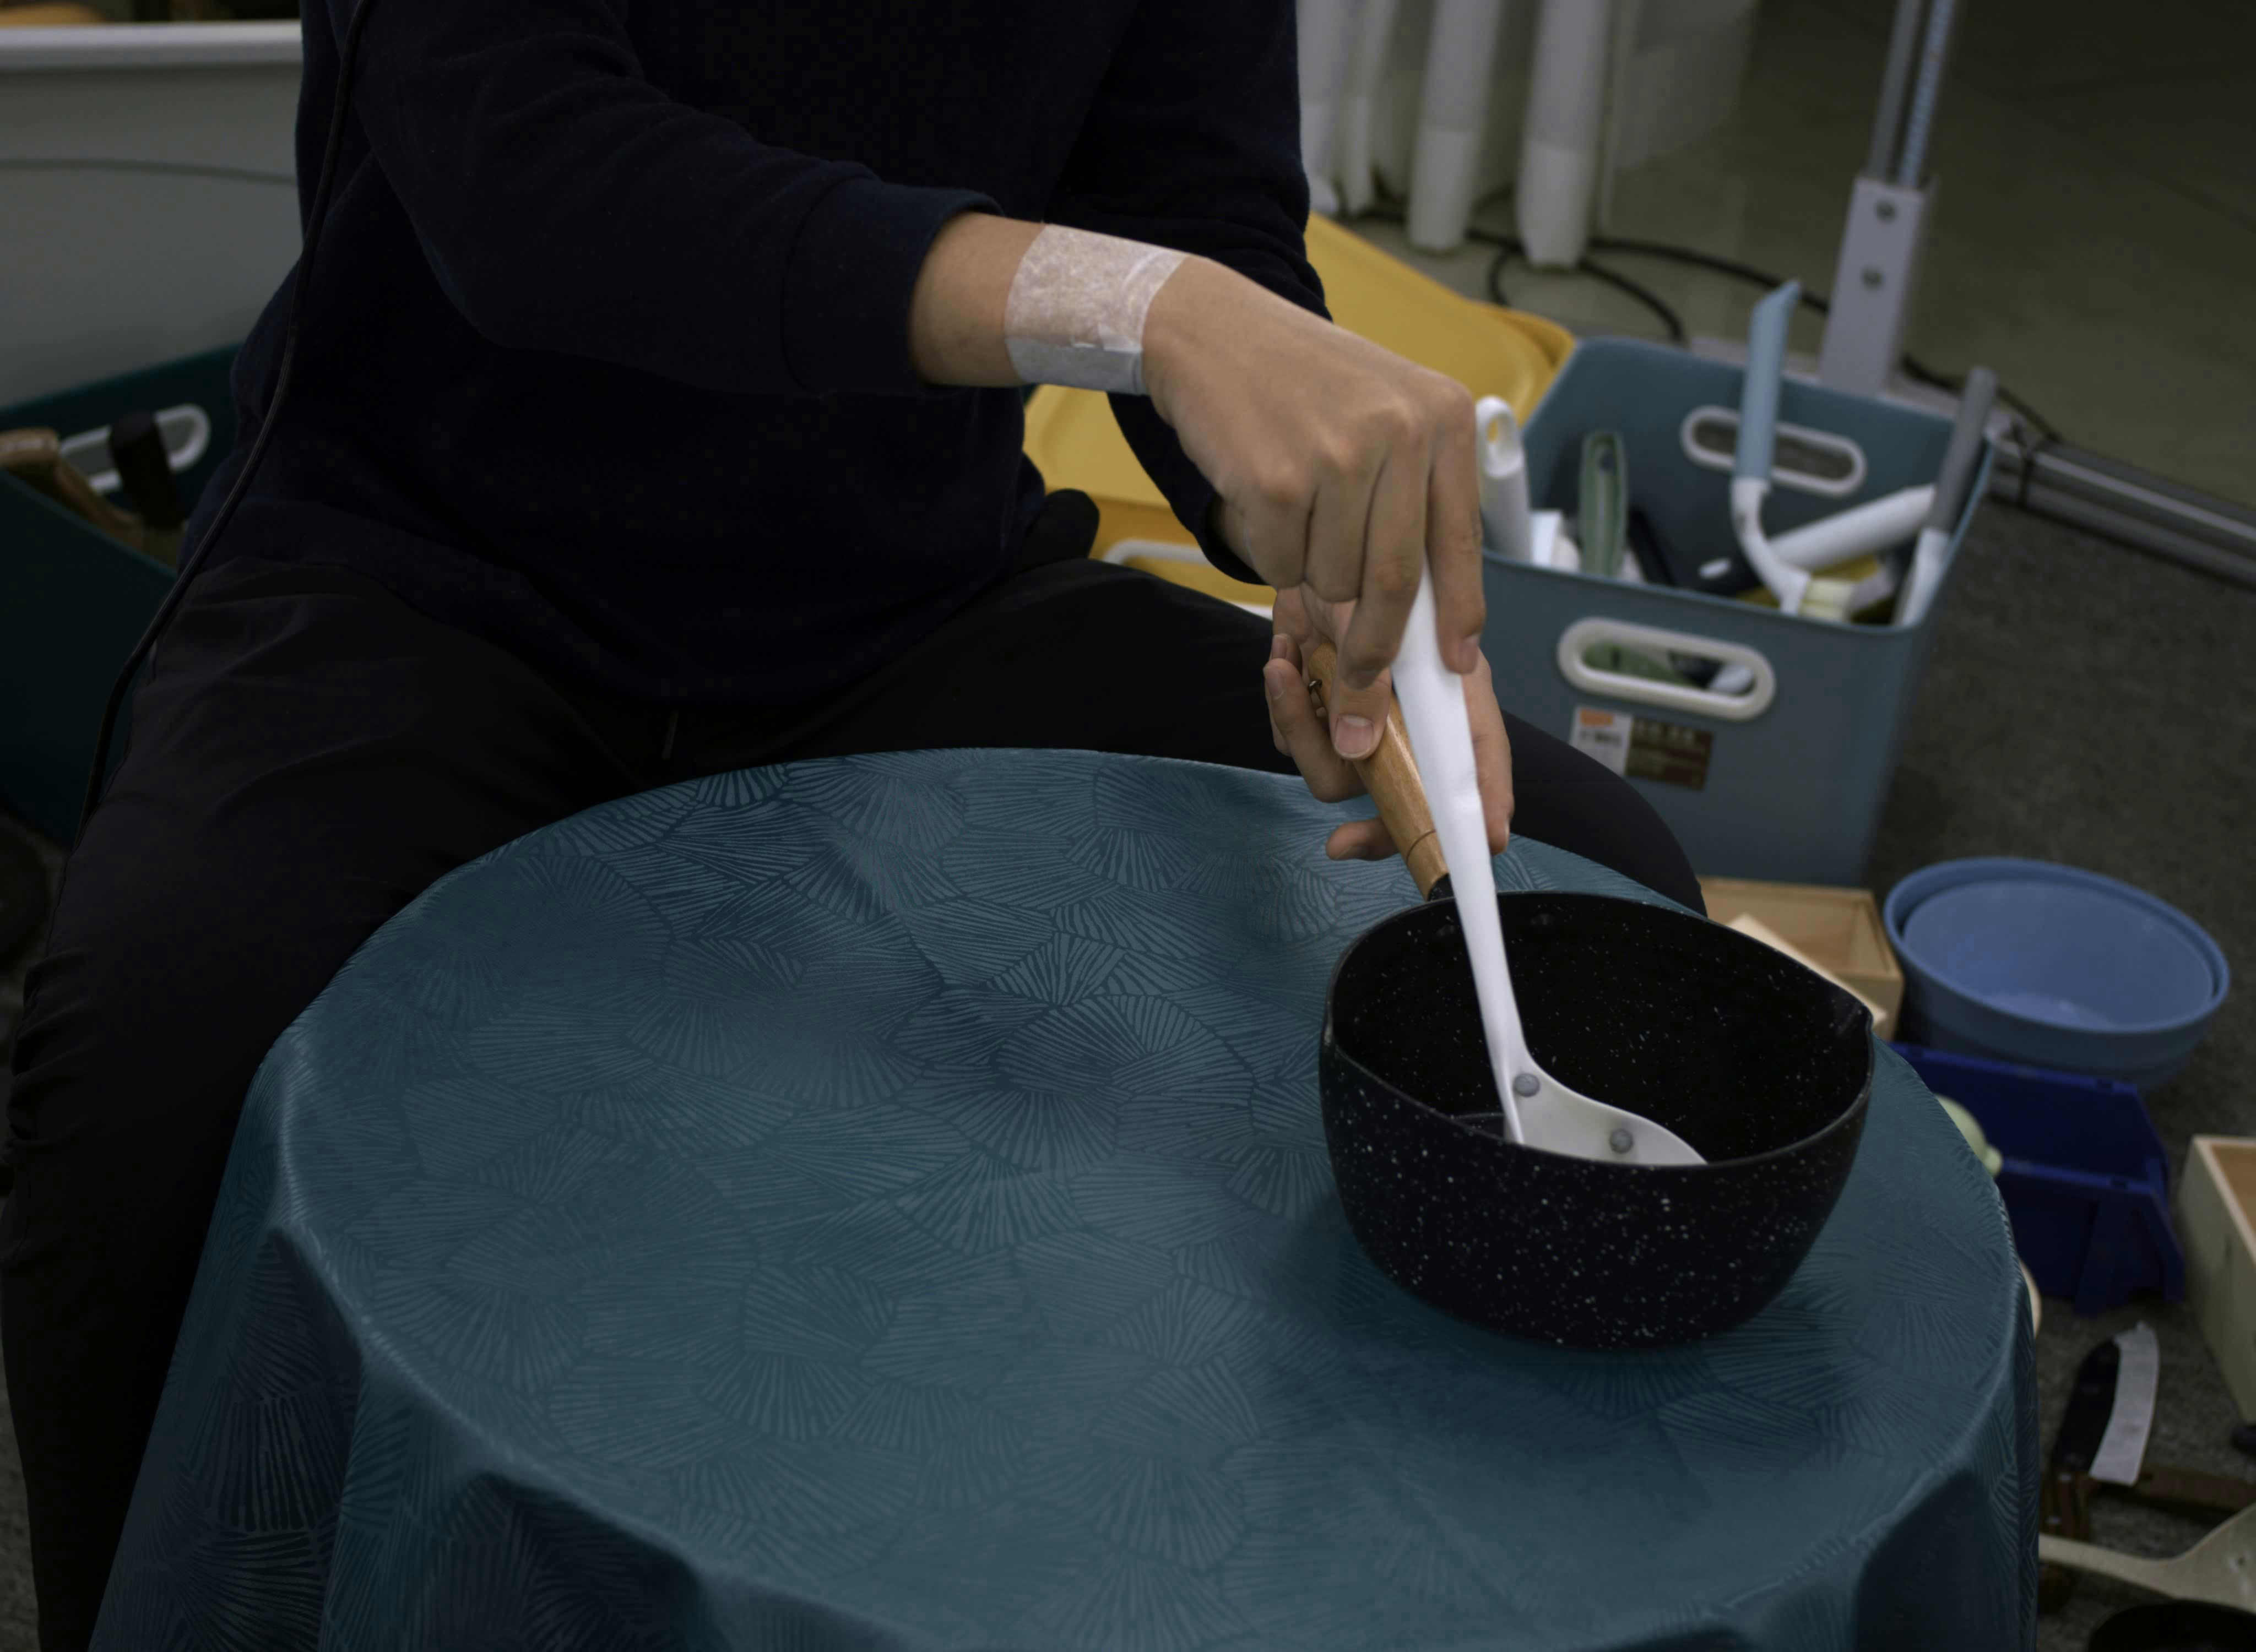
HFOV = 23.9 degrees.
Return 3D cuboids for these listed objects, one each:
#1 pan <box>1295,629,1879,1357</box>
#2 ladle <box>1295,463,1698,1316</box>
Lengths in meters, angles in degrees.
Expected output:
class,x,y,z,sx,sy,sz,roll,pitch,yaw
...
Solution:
class,x,y,z,sx,sy,sz,roll,pitch,yaw
pan,0.127,0.055,1.847,0.206,0.108,0.346,-5,31,-20
ladle,0.124,0.021,1.743,0.070,0.292,0.090,-5,16,47
